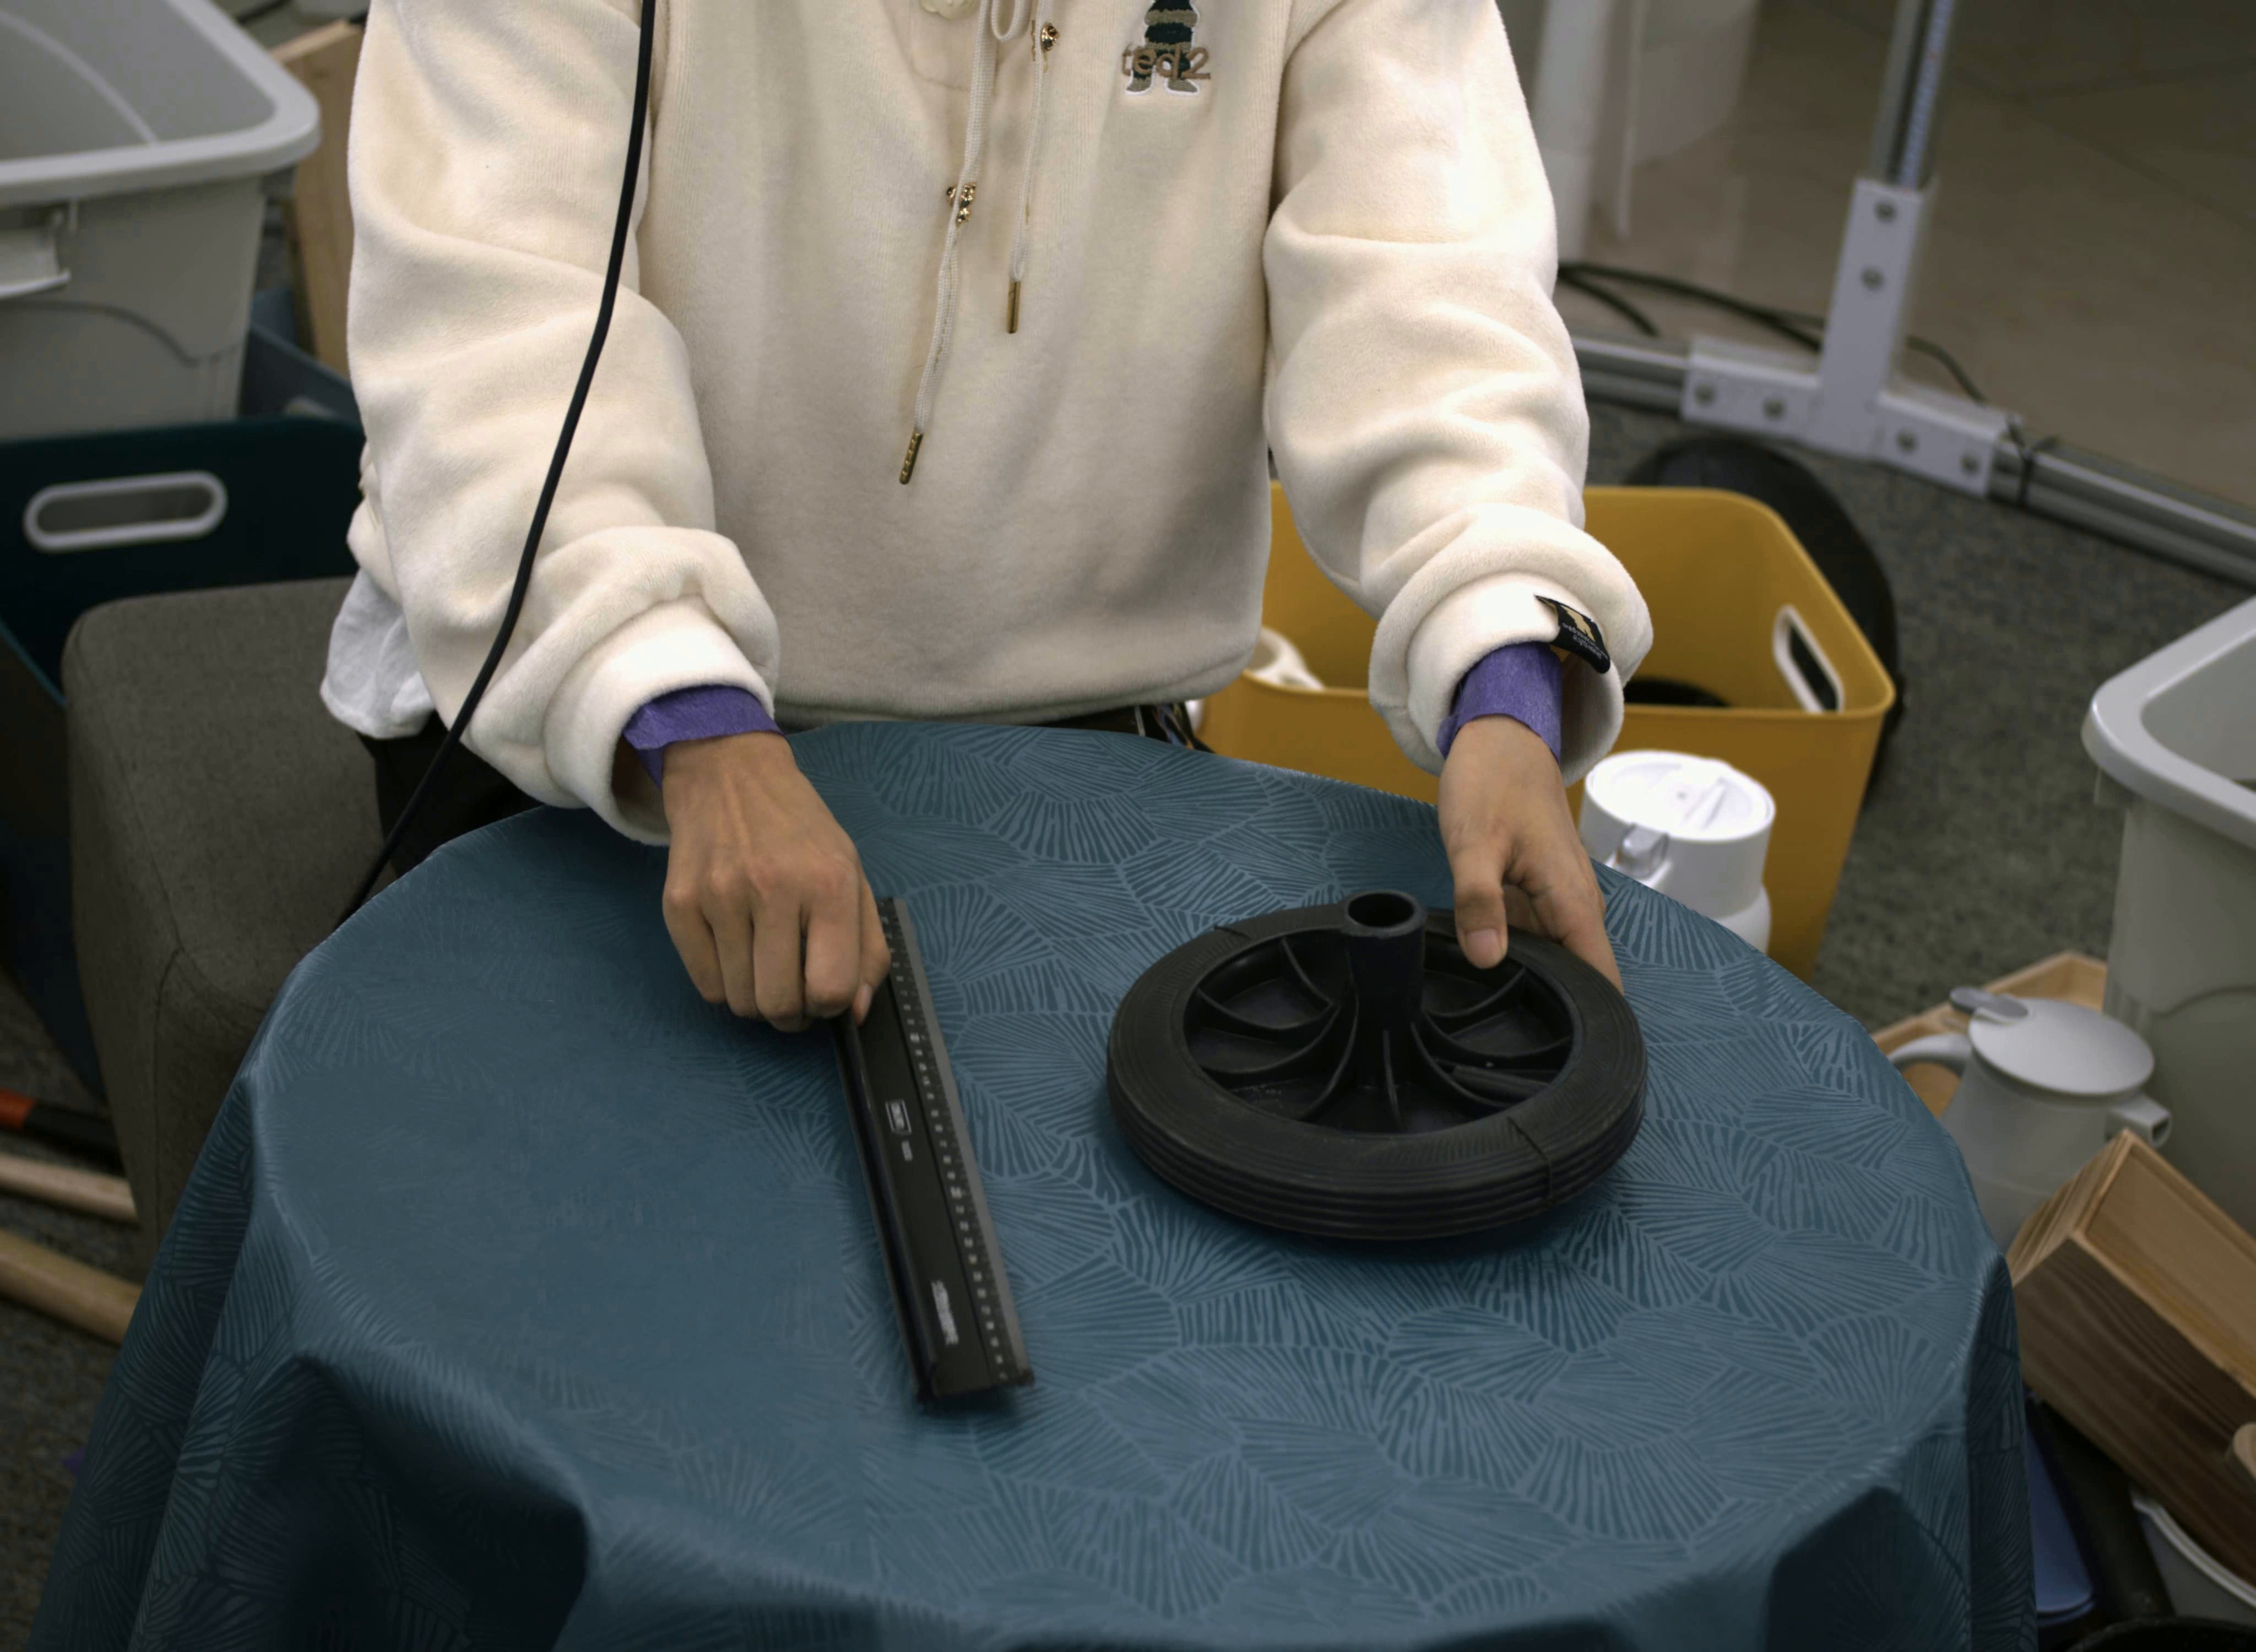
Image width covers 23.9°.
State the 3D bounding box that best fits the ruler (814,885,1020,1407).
[{"bbox_3d":[-0.073,0.100,1.794,0.039,0.017,0.315,-4,29,-7],"label":"ruler"}]

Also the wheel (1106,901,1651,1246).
[{"bbox_3d":[0.087,0.067,1.838,0.189,0.079,0.188,1,30,1],"label":"wheel"}]
